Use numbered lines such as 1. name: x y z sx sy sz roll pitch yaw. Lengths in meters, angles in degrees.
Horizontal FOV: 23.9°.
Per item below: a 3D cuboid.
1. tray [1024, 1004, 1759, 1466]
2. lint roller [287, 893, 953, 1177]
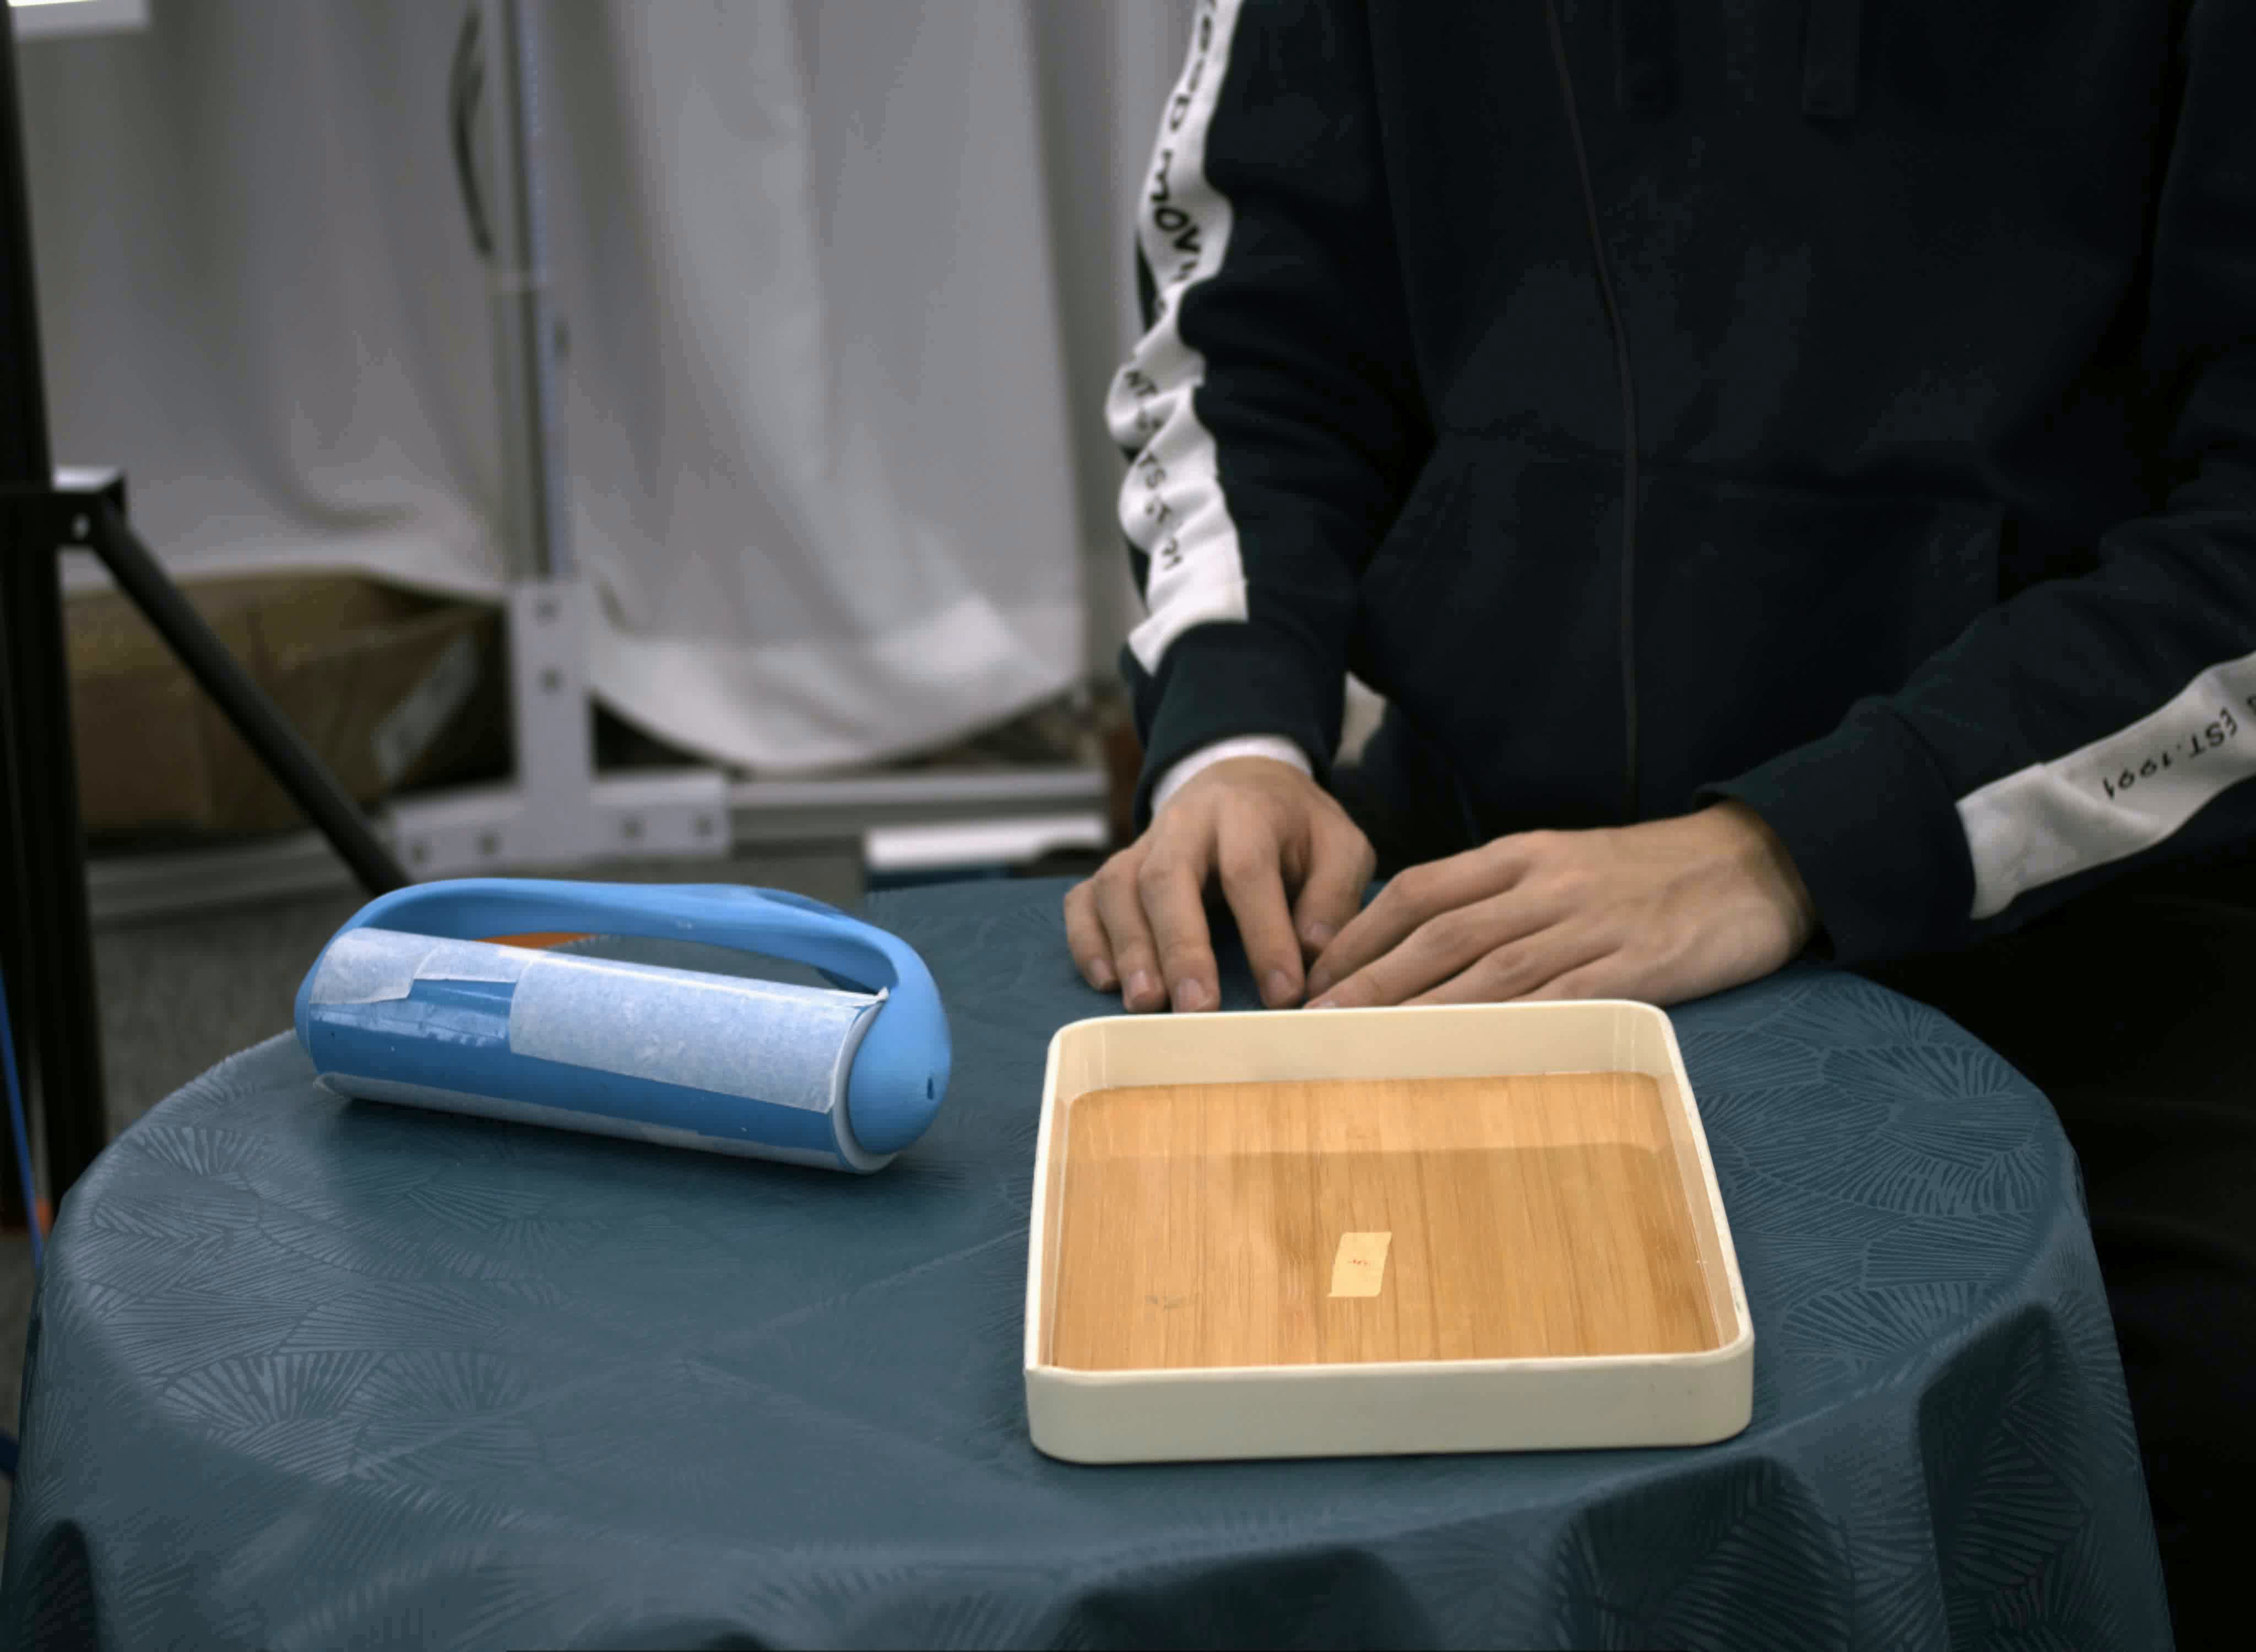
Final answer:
1. tray: 0.070 0.110 1.489 0.191 0.027 0.301 -2 16 2
2. lint roller: -0.134 0.053 1.675 0.232 0.068 0.177 3 17 26
